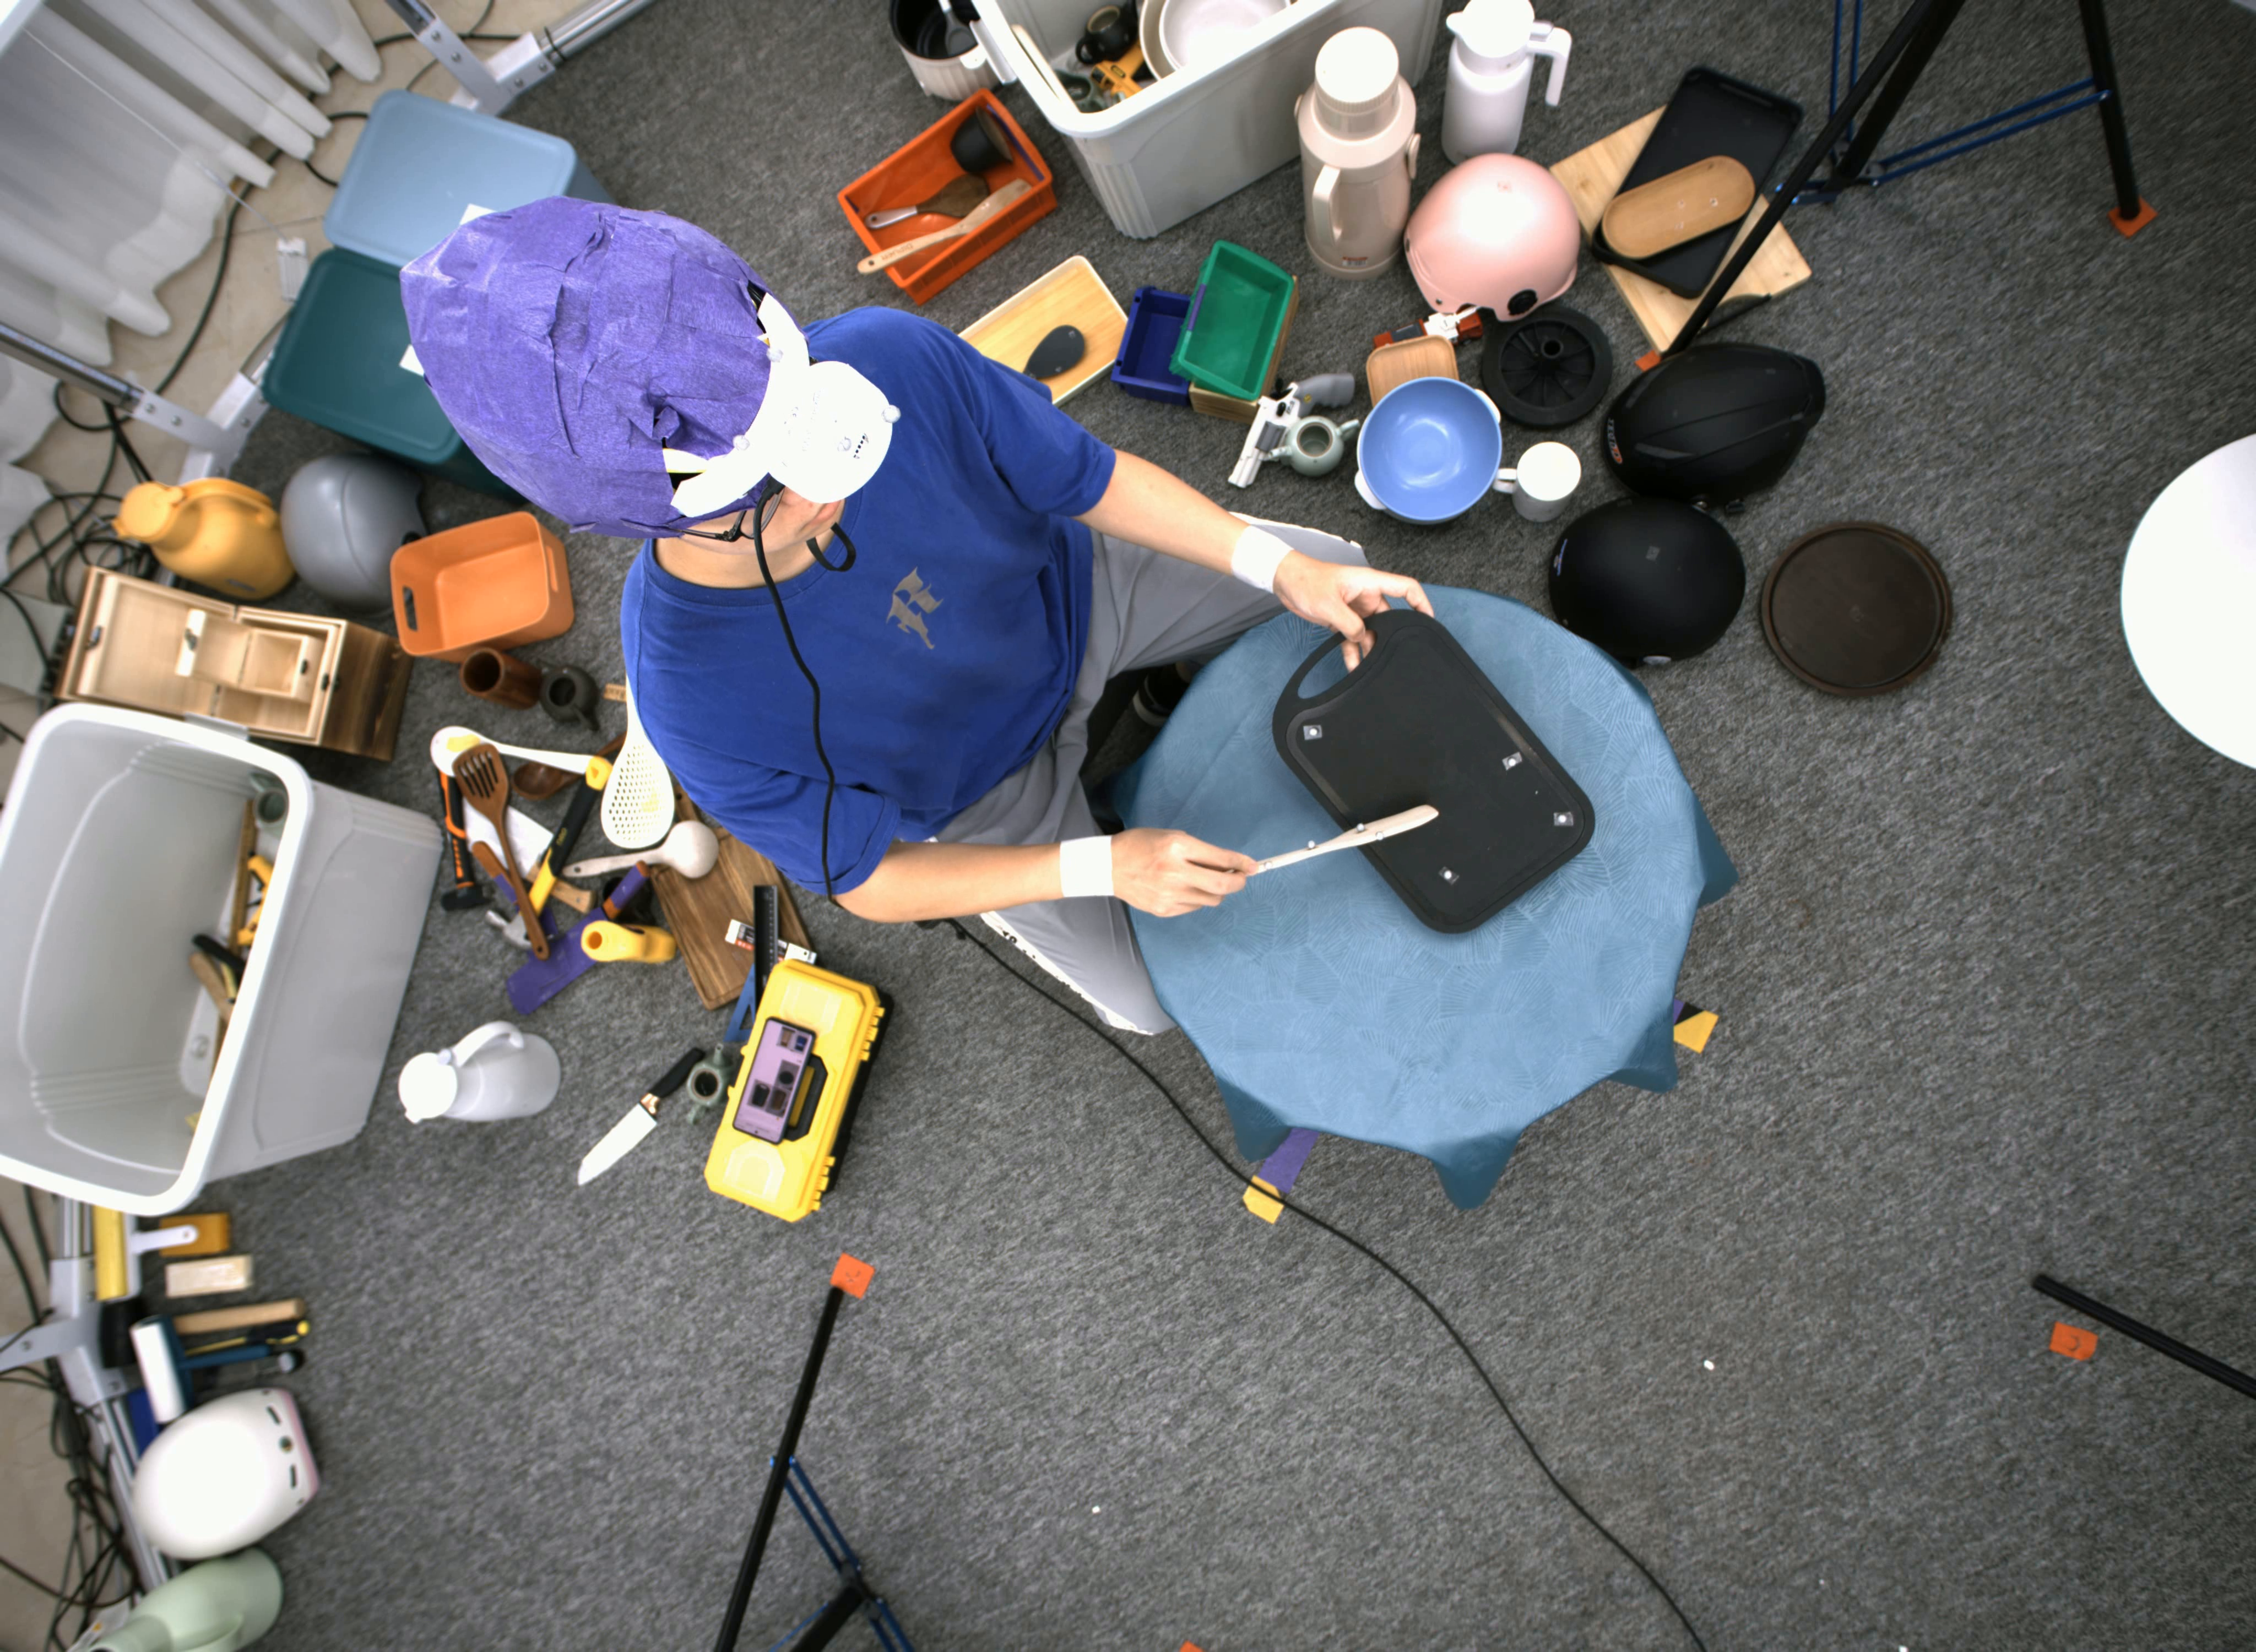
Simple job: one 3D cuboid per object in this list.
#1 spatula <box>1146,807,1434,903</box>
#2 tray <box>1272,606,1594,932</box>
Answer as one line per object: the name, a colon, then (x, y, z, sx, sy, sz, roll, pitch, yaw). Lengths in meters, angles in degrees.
spatula: (0.158, 0.030, 1.367, 0.294, 0.071, 0.011, -17, 99, 5)
tray: (0.297, -0.060, 1.374, 0.214, 0.009, 0.326, -39, 94, 23)
